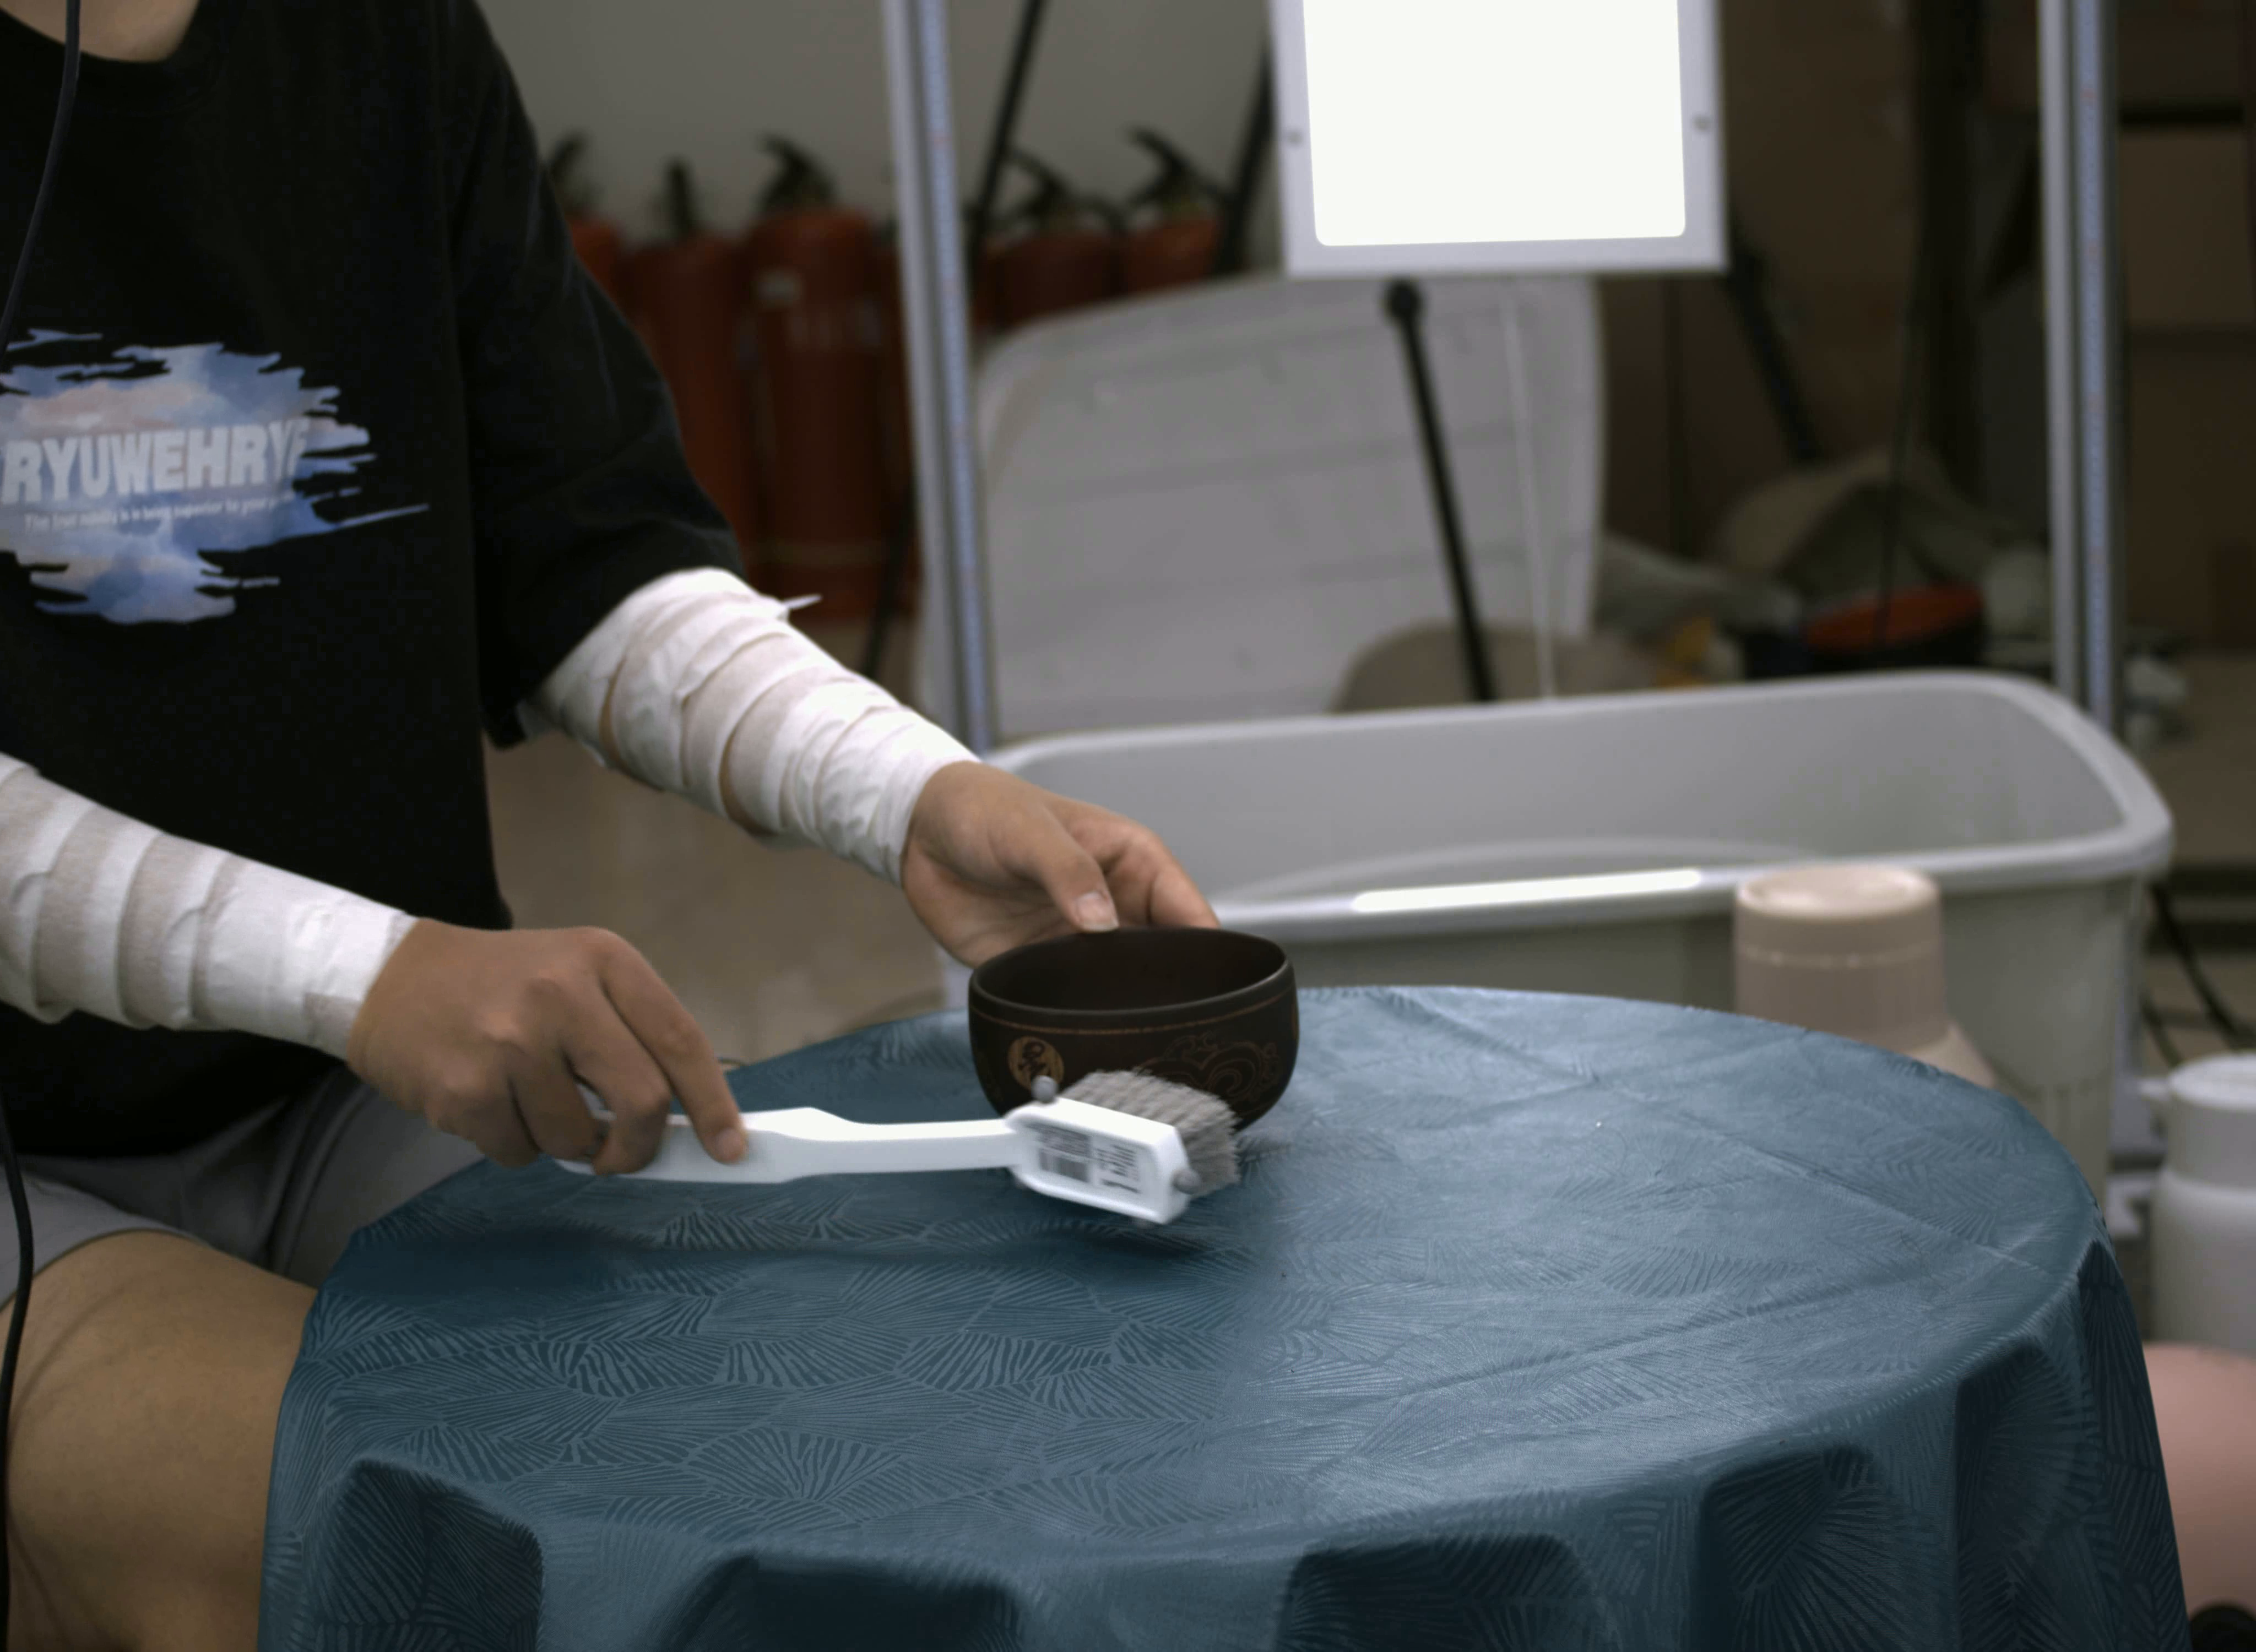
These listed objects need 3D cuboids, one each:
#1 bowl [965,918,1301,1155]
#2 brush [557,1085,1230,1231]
[{"bbox_3d":[0.004,0.080,1.932,0.118,0.070,0.118,-7,14,0],"label":"bowl"},{"bbox_3d":[-0.079,0.106,1.865,0.248,0.034,0.049,2,23,27],"label":"brush"}]
